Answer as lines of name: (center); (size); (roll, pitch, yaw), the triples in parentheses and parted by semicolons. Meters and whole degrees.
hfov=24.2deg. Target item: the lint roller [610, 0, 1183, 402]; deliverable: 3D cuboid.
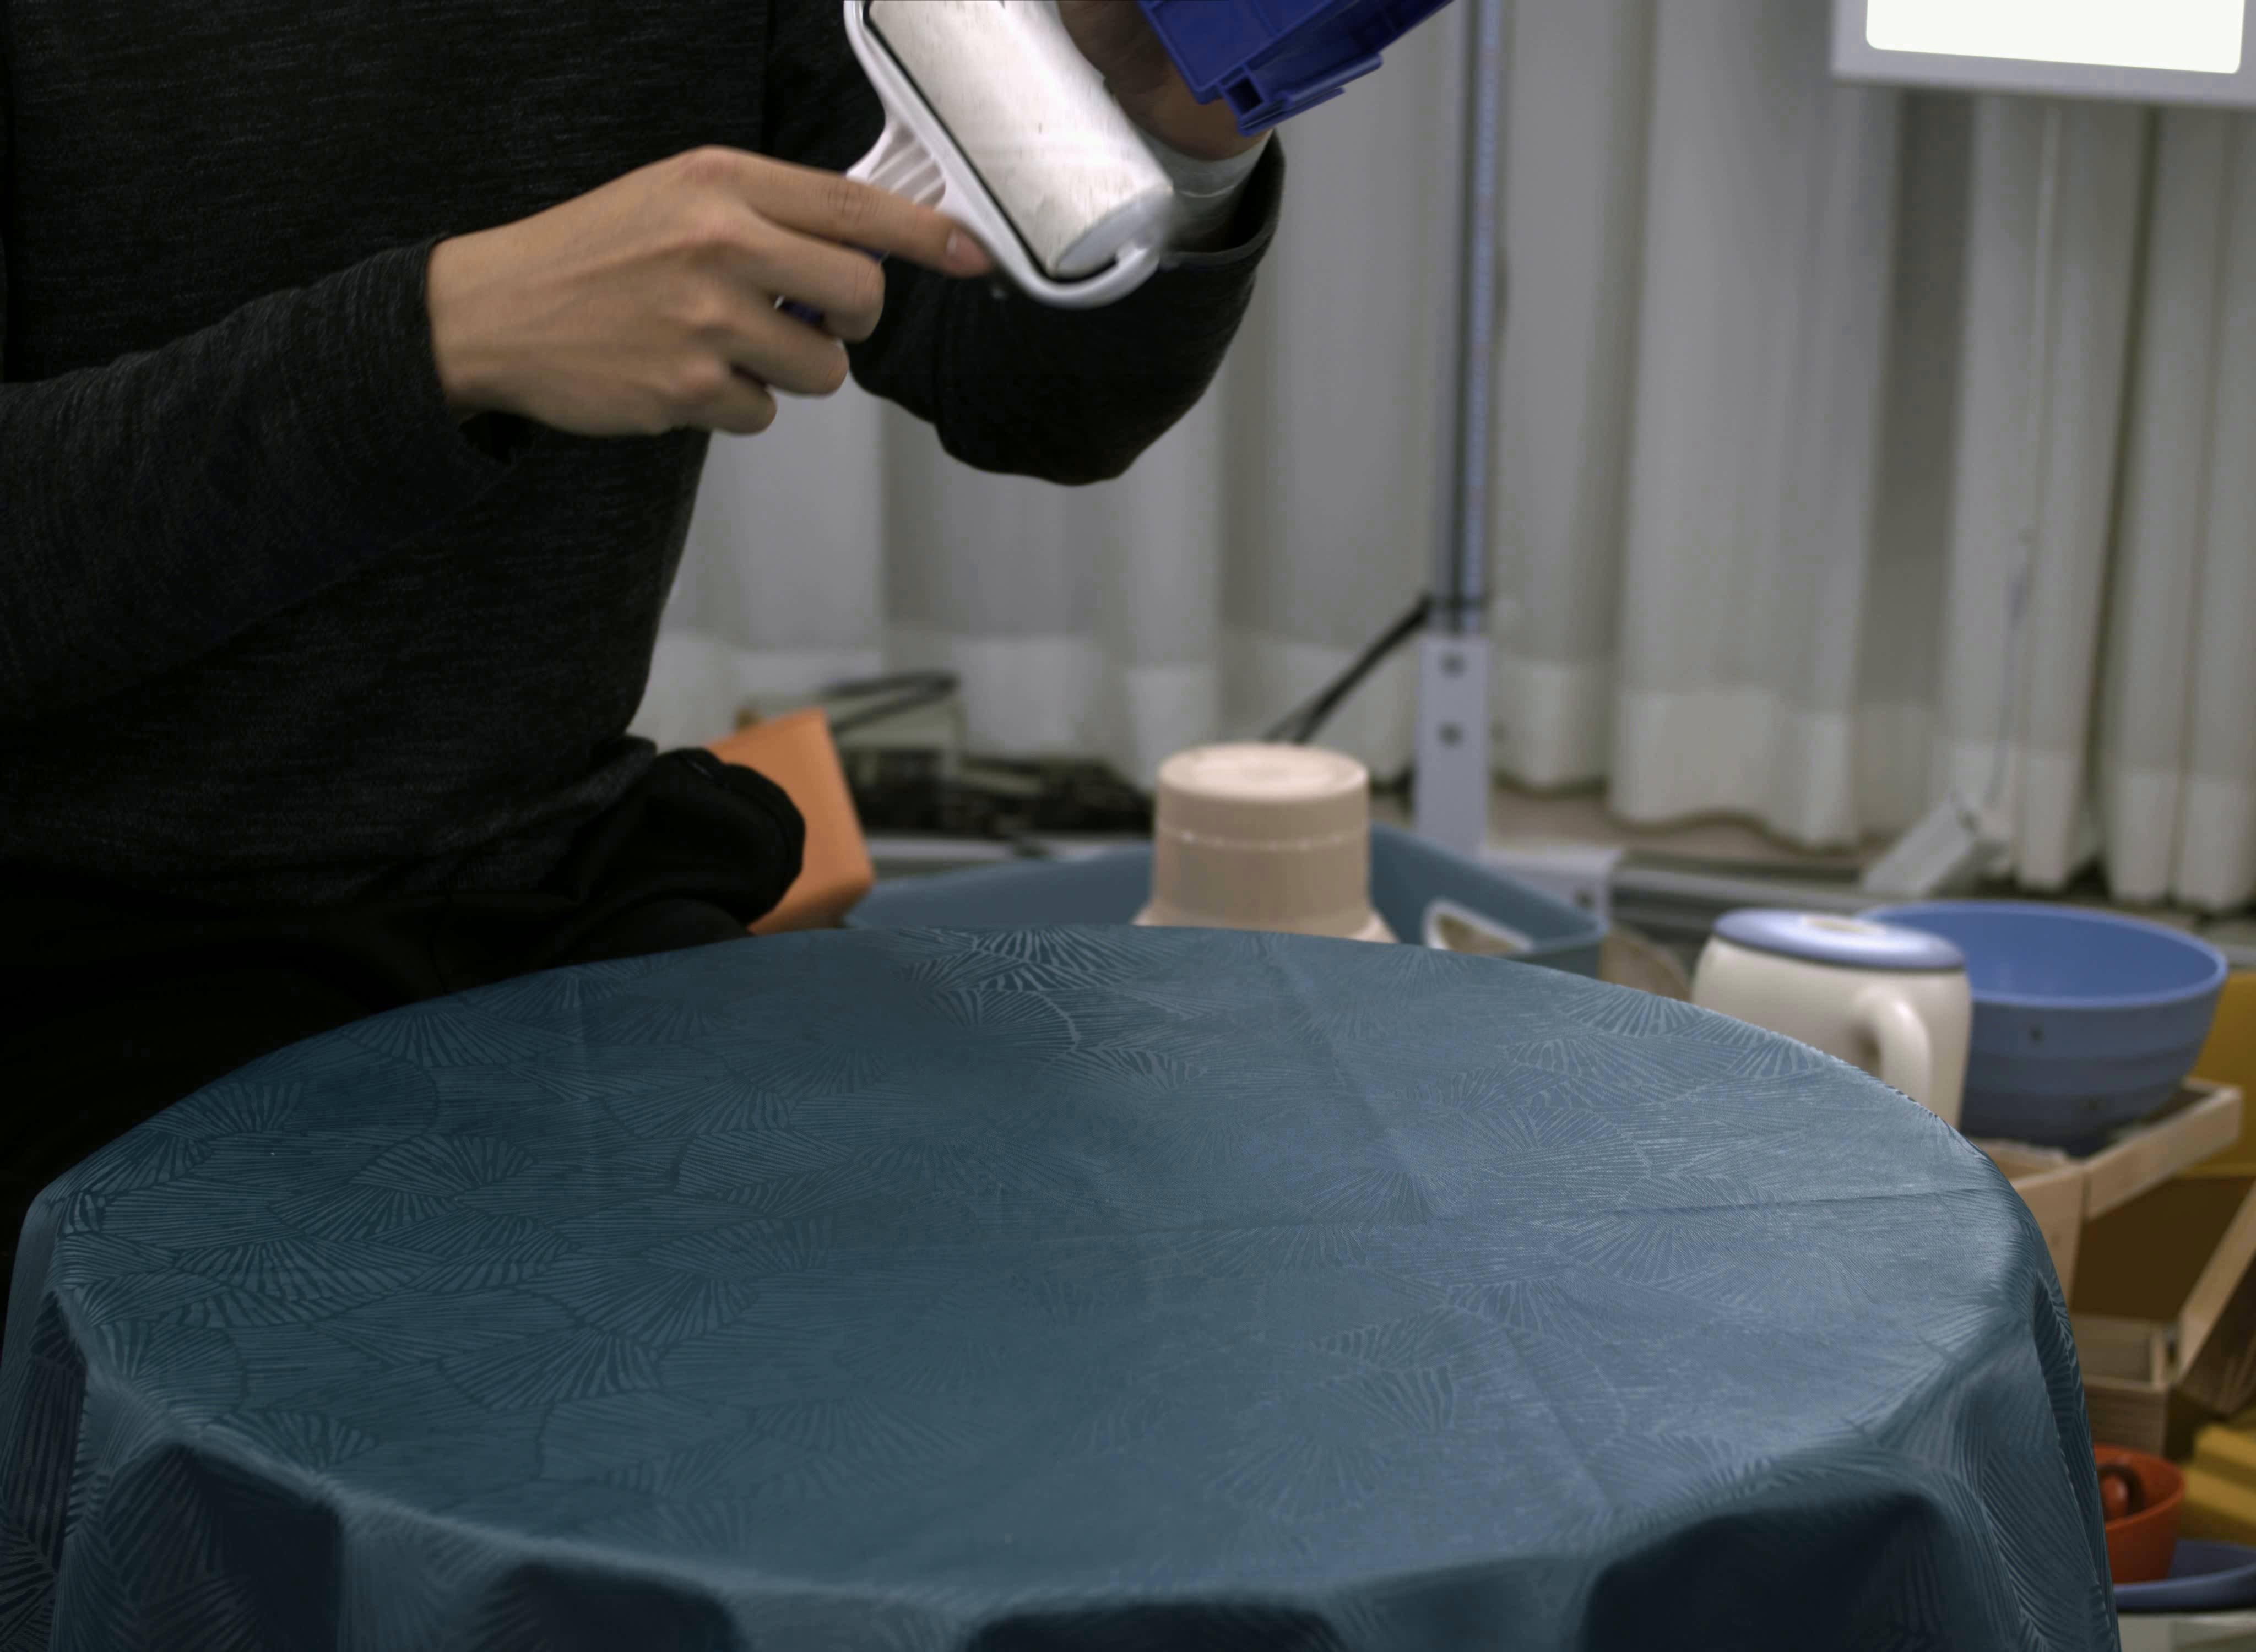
lint roller: (-0.086, -0.192, 1.601); (0.180, 0.133, 0.050); (-34, -5, -2)

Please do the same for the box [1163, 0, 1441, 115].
box: (0.074, -0.309, 1.585); (0.179, 0.124, 0.082); (-32, 0, 31)
